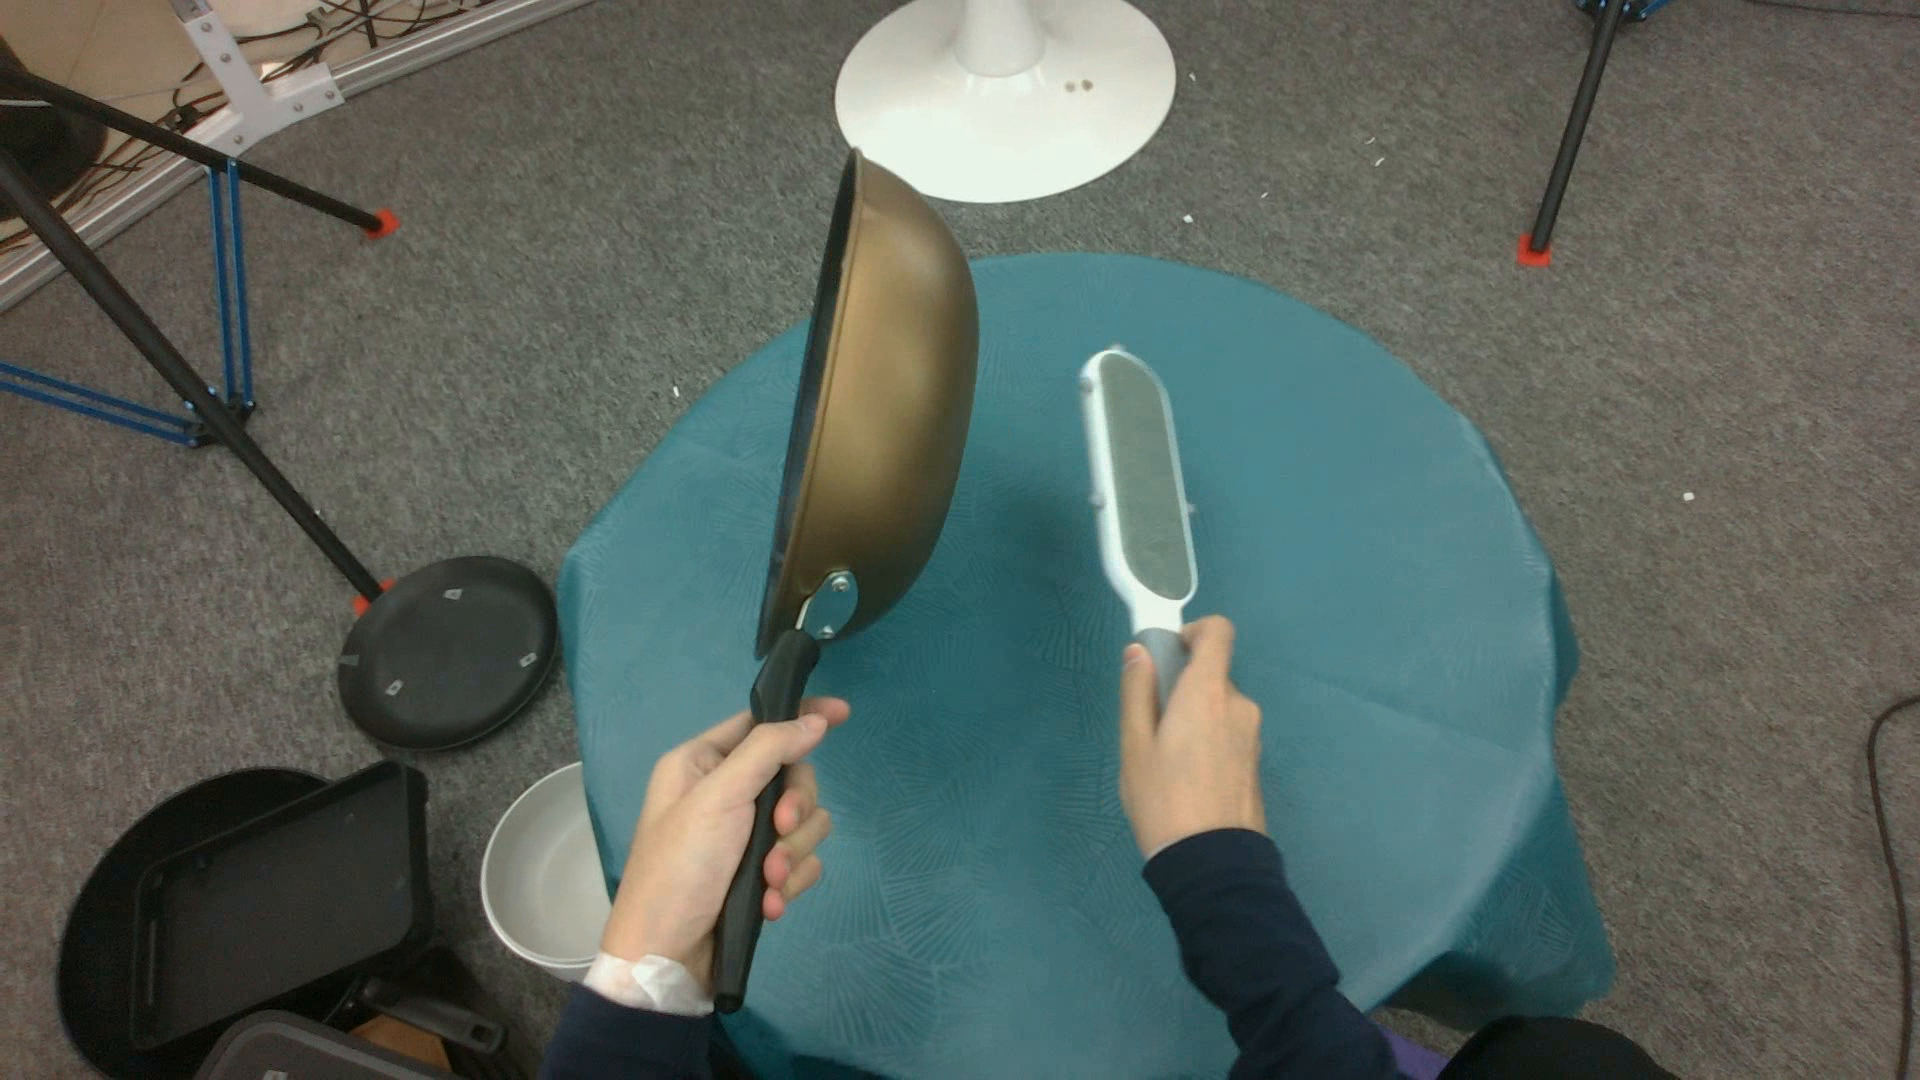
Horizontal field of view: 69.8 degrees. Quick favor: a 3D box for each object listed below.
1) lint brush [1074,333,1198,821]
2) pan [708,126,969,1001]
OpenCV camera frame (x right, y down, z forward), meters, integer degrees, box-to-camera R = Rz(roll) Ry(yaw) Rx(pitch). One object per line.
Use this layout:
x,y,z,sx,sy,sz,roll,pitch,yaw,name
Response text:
0.096,0.005,0.743,0.060,0.021,0.310,21,48,-30,lint brush
-0.055,-0.001,0.690,0.087,0.286,0.465,10,51,-10,pan
